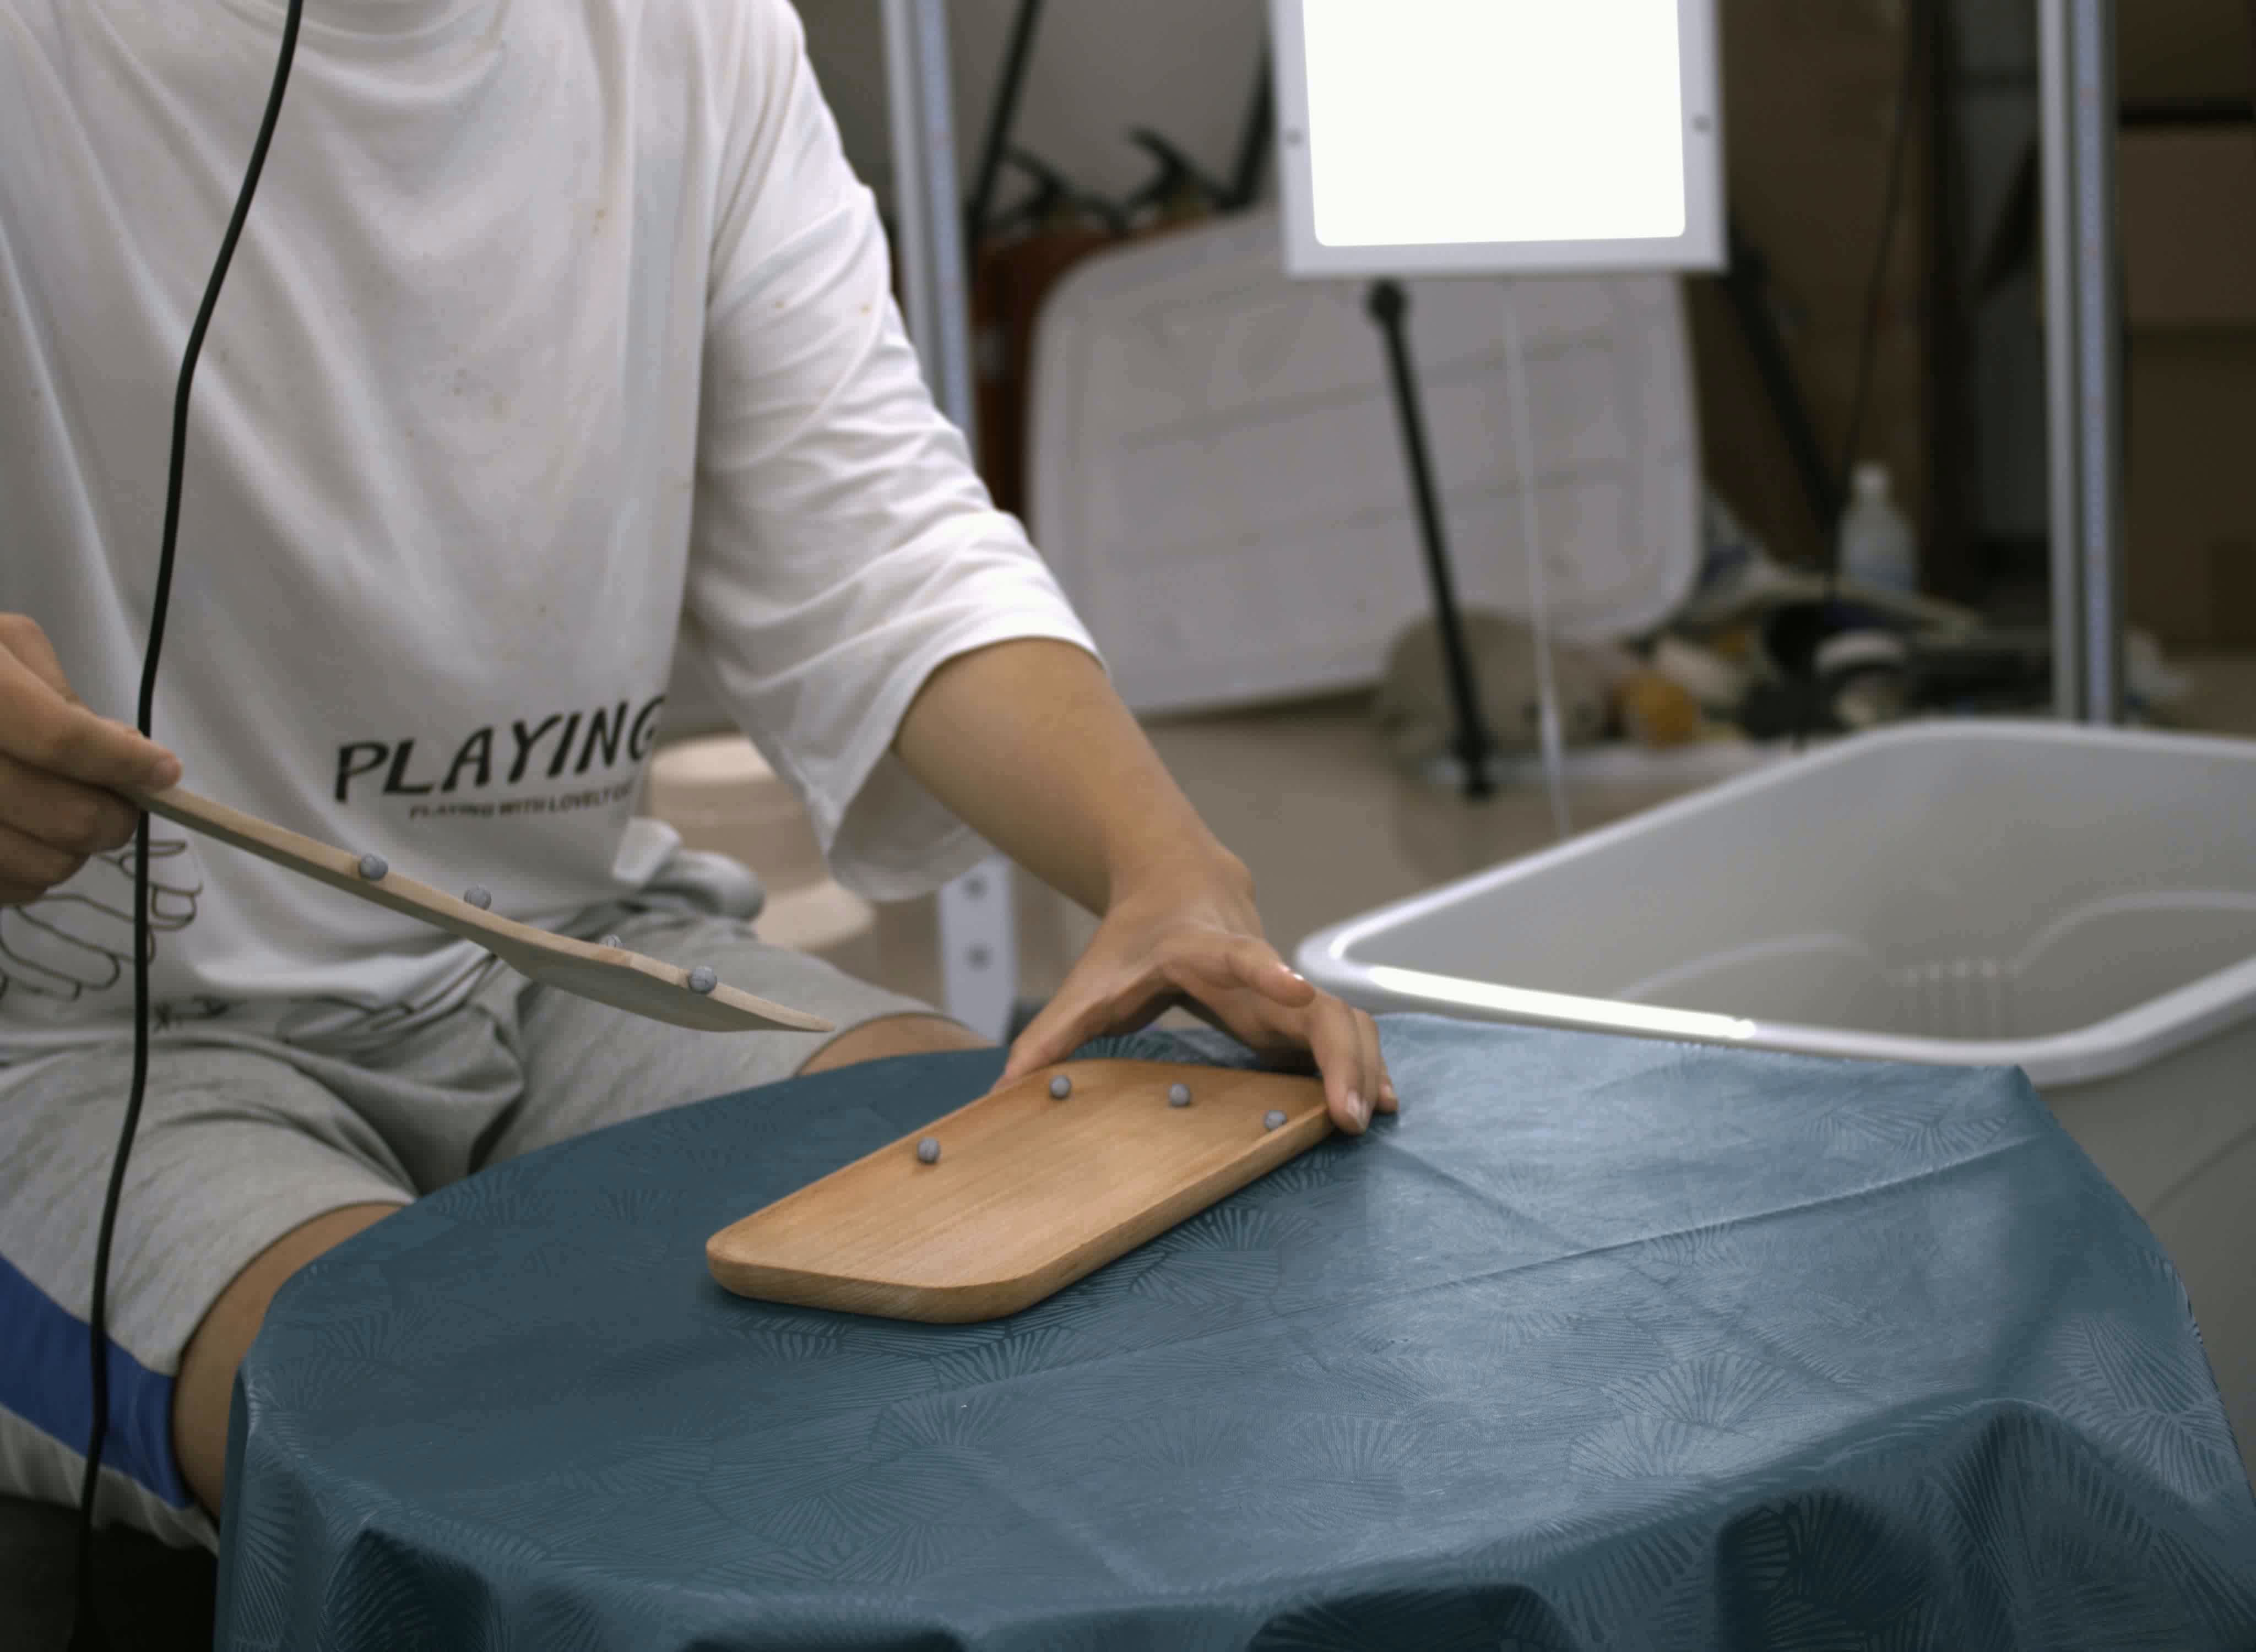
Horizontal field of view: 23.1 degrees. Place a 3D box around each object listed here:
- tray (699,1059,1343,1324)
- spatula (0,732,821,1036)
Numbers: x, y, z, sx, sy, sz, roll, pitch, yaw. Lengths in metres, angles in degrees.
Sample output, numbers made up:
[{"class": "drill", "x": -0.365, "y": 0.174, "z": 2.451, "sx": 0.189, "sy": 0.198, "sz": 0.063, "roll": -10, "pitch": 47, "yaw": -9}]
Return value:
[{"class": "tray", "x": -0.033, "y": 0.123, "z": 1.893, "sx": 0.133, "sy": 0.023, "sz": 0.244, "roll": 2, "pitch": 16, "yaw": 35}, {"class": "spatula", "x": -0.224, "y": 0.022, "z": 1.713, "sx": 0.287, "sy": 0.010, "sz": 0.074, "roll": 24, "pitch": -15, "yaw": -35}]
